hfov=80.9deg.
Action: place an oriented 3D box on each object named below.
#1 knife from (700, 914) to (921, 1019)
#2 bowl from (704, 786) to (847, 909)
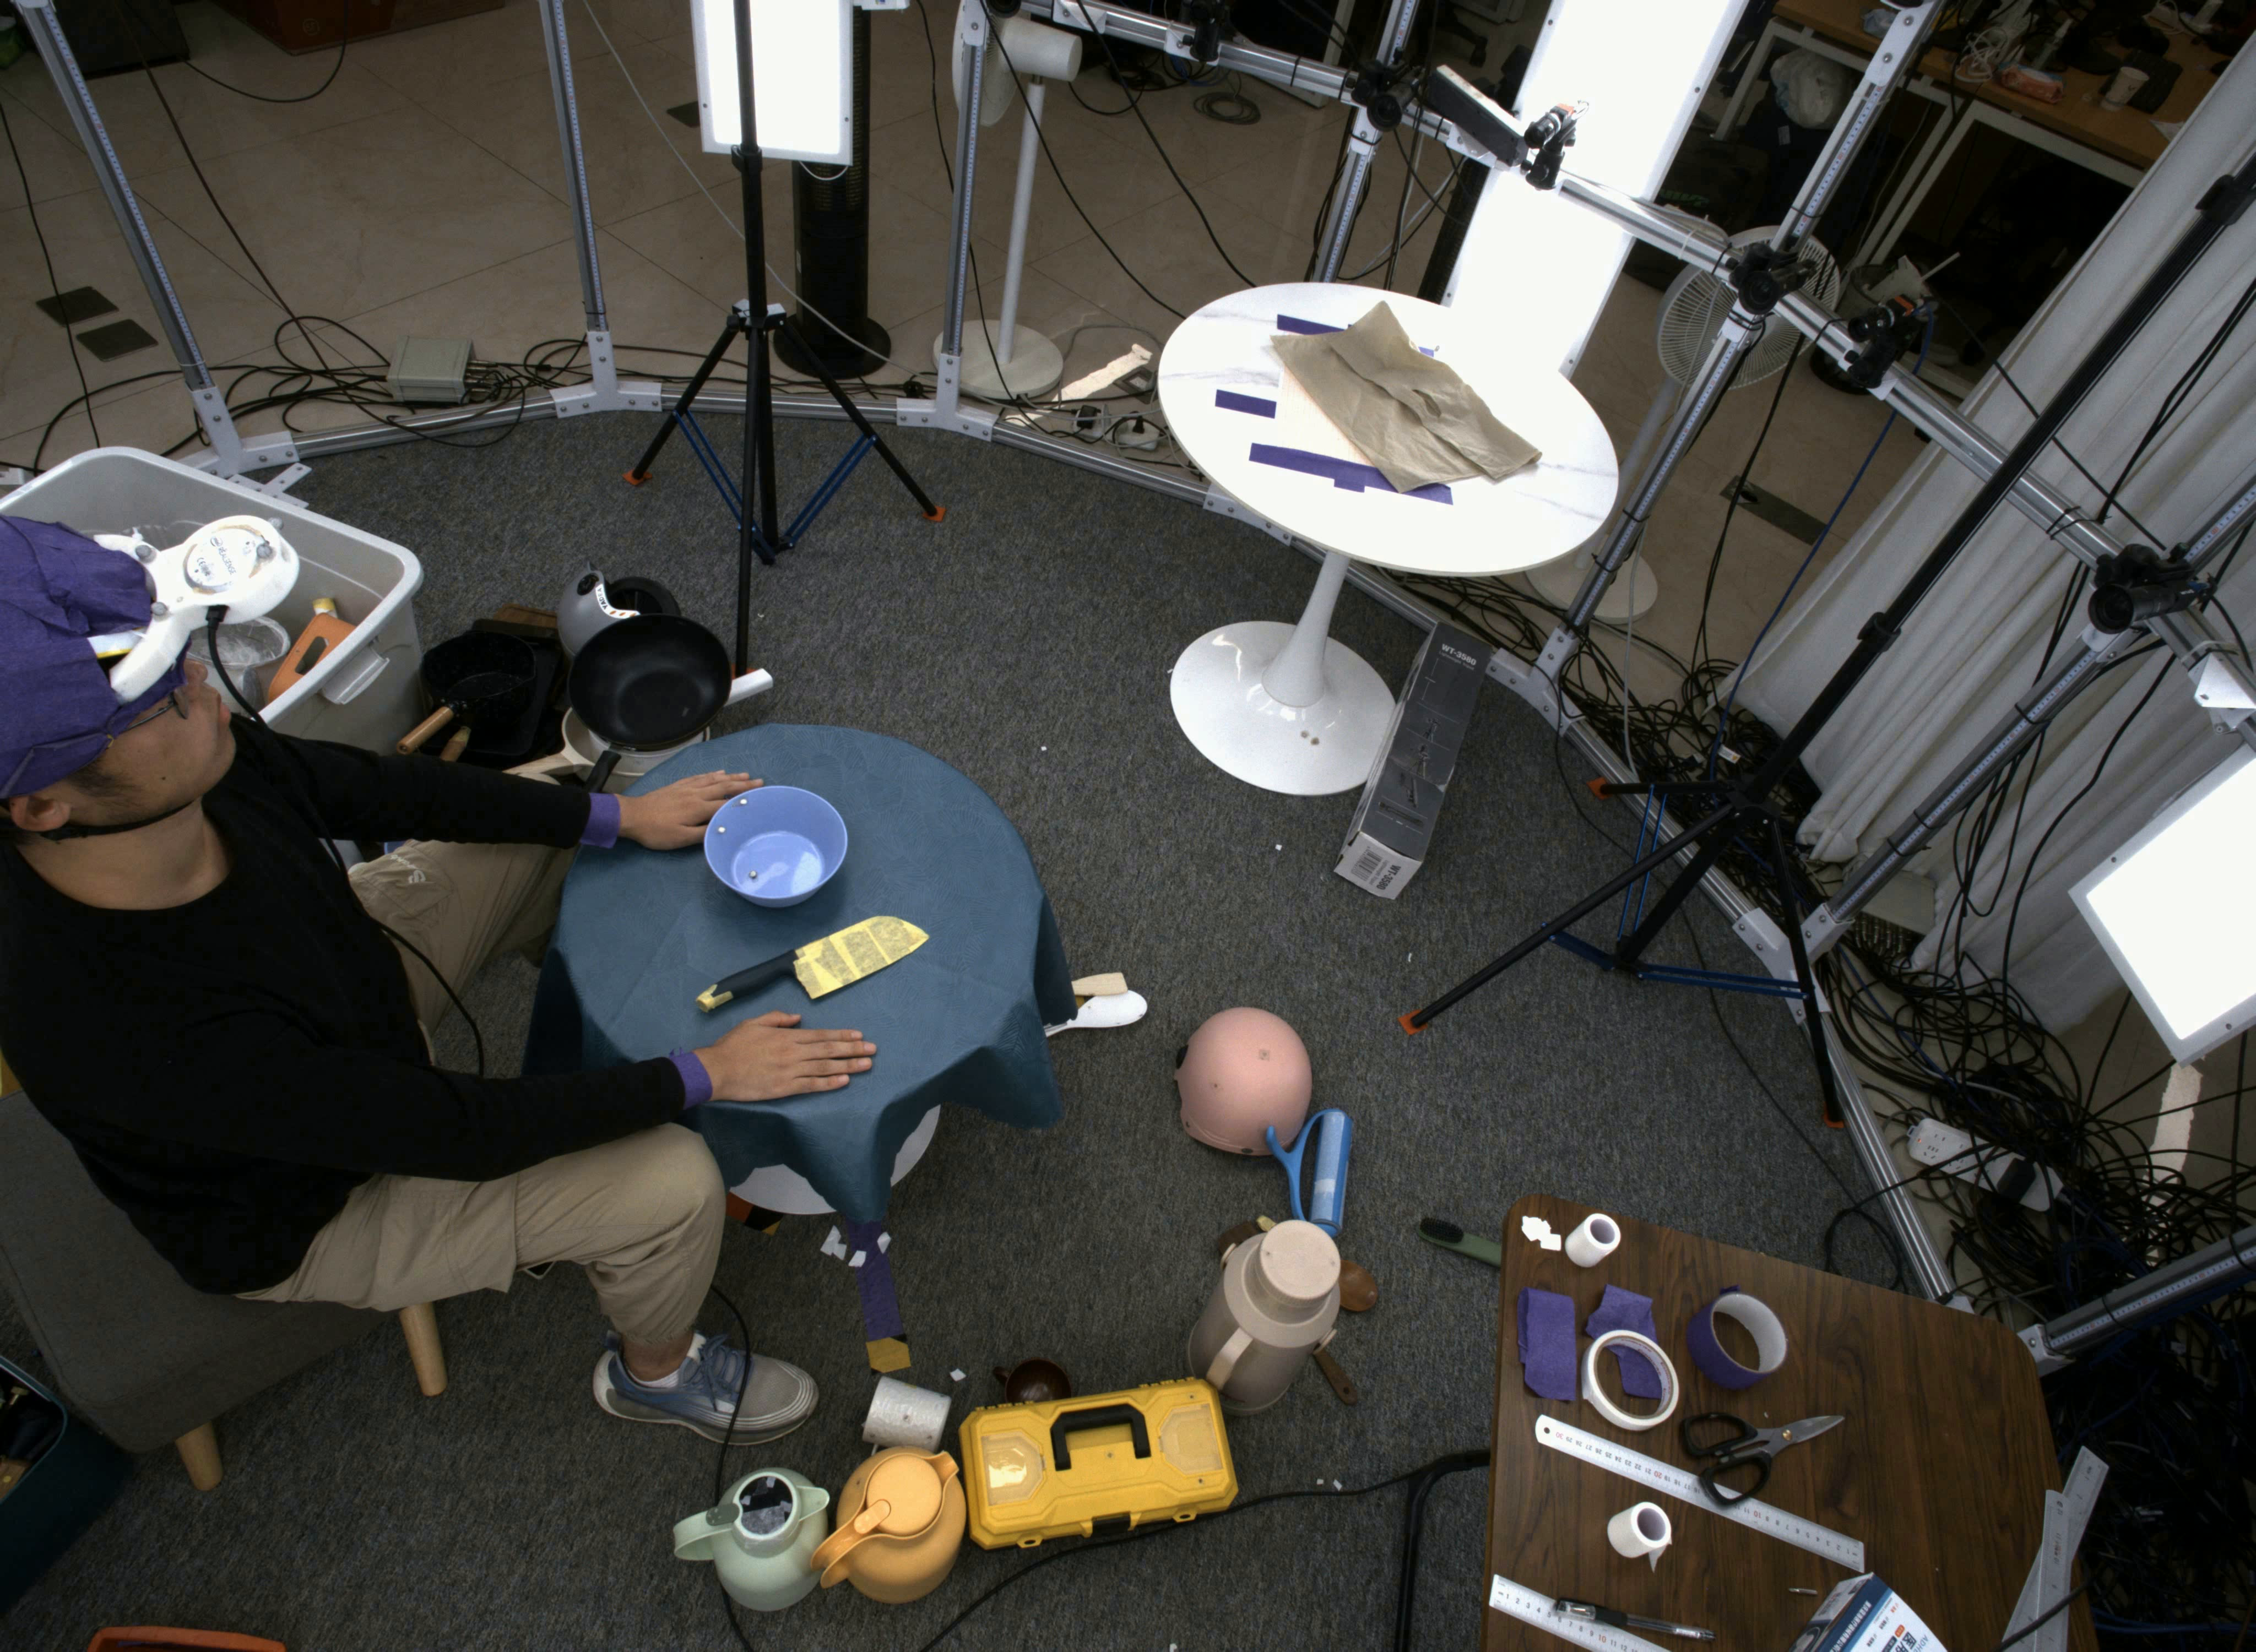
[{"bbox_3d":[-0.383,0.174,1.593,0.291,0.028,0.079,-23,60,-29],"label":"knife"},{"bbox_3d":[-0.445,0.037,1.644,0.176,0.071,0.173,8,53,-9],"label":"bowl"}]
